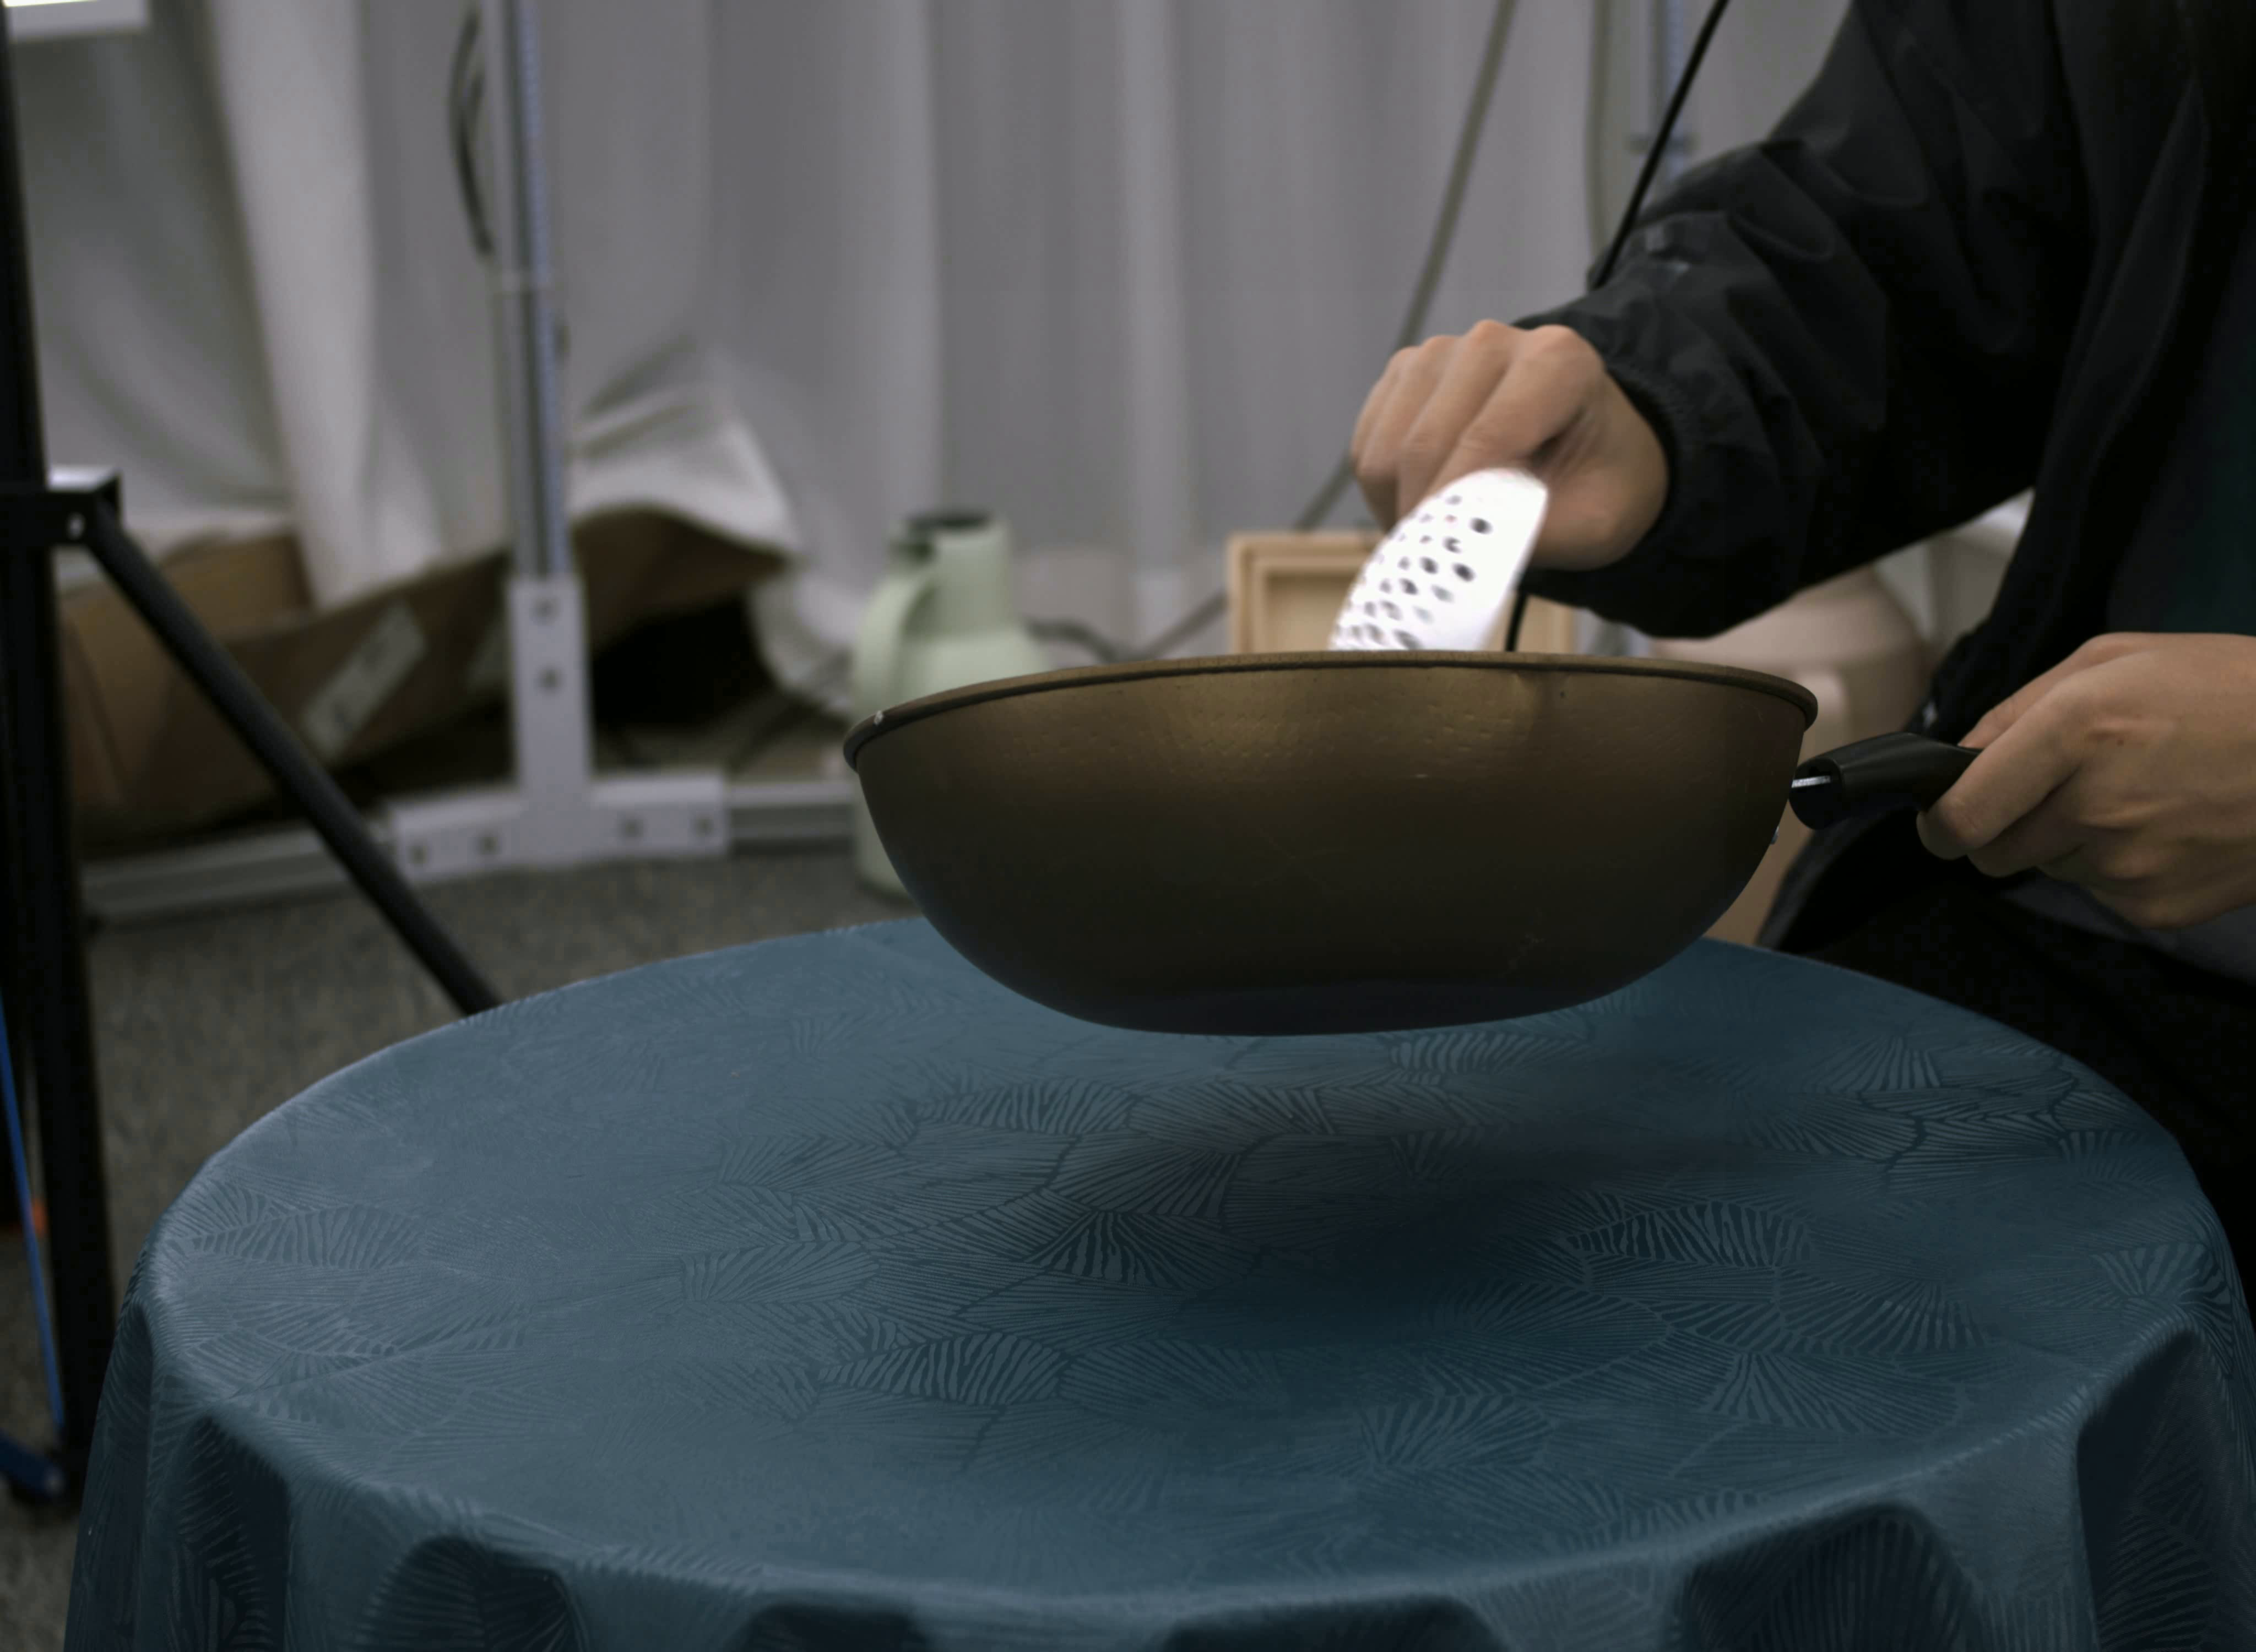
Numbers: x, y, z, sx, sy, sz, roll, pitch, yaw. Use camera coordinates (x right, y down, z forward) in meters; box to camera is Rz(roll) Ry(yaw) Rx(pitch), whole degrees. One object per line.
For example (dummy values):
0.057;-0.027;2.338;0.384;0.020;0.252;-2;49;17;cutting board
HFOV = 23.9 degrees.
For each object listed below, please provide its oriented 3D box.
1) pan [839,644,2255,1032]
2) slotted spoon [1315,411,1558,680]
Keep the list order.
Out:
0.142;0.013;1.540;0.454;0.087;0.291;2;-9;-20;pan
0.086;-0.076;1.587;0.050;0.137;0.347;20;14;1;slotted spoon
